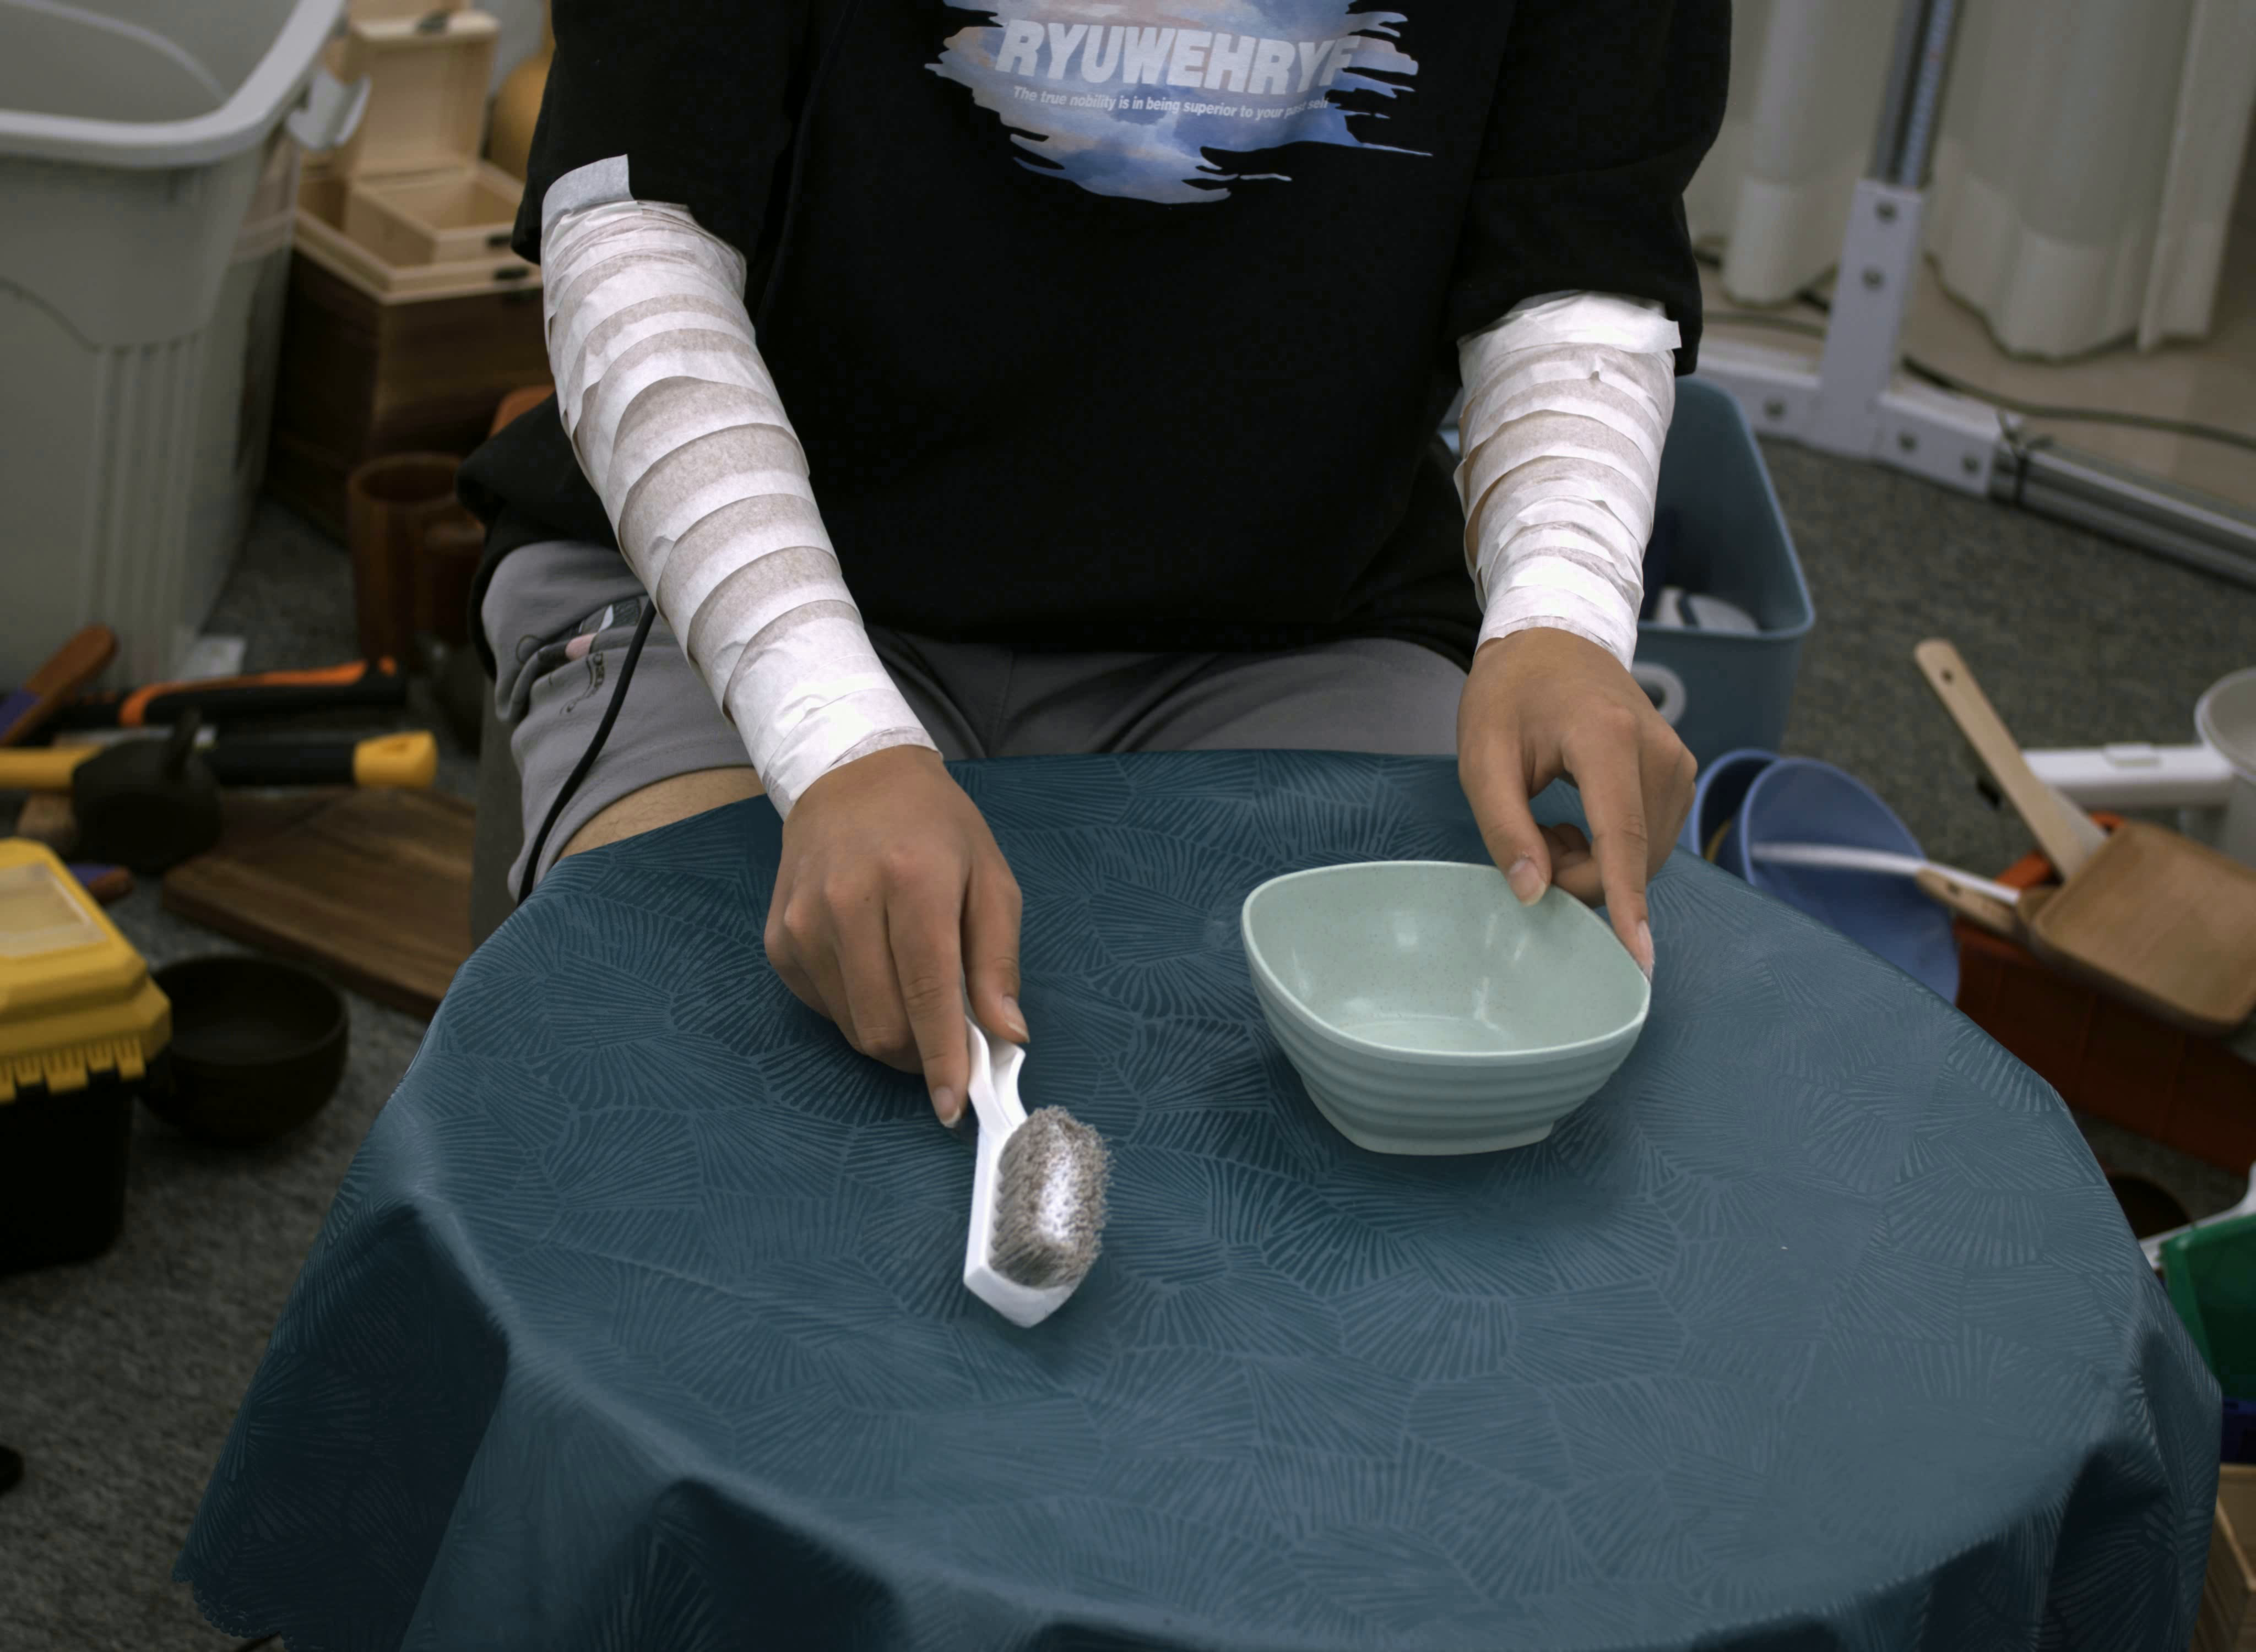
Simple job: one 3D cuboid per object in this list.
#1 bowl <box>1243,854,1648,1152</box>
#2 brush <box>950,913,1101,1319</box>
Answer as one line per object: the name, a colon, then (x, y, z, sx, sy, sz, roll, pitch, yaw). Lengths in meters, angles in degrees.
bowl: (0.107, 0.068, 1.872, 0.151, 0.058, 0.152, 7, 27, -4)
brush: (-0.037, 0.082, 1.804, 0.034, 0.050, 0.245, 28, 25, -18)
